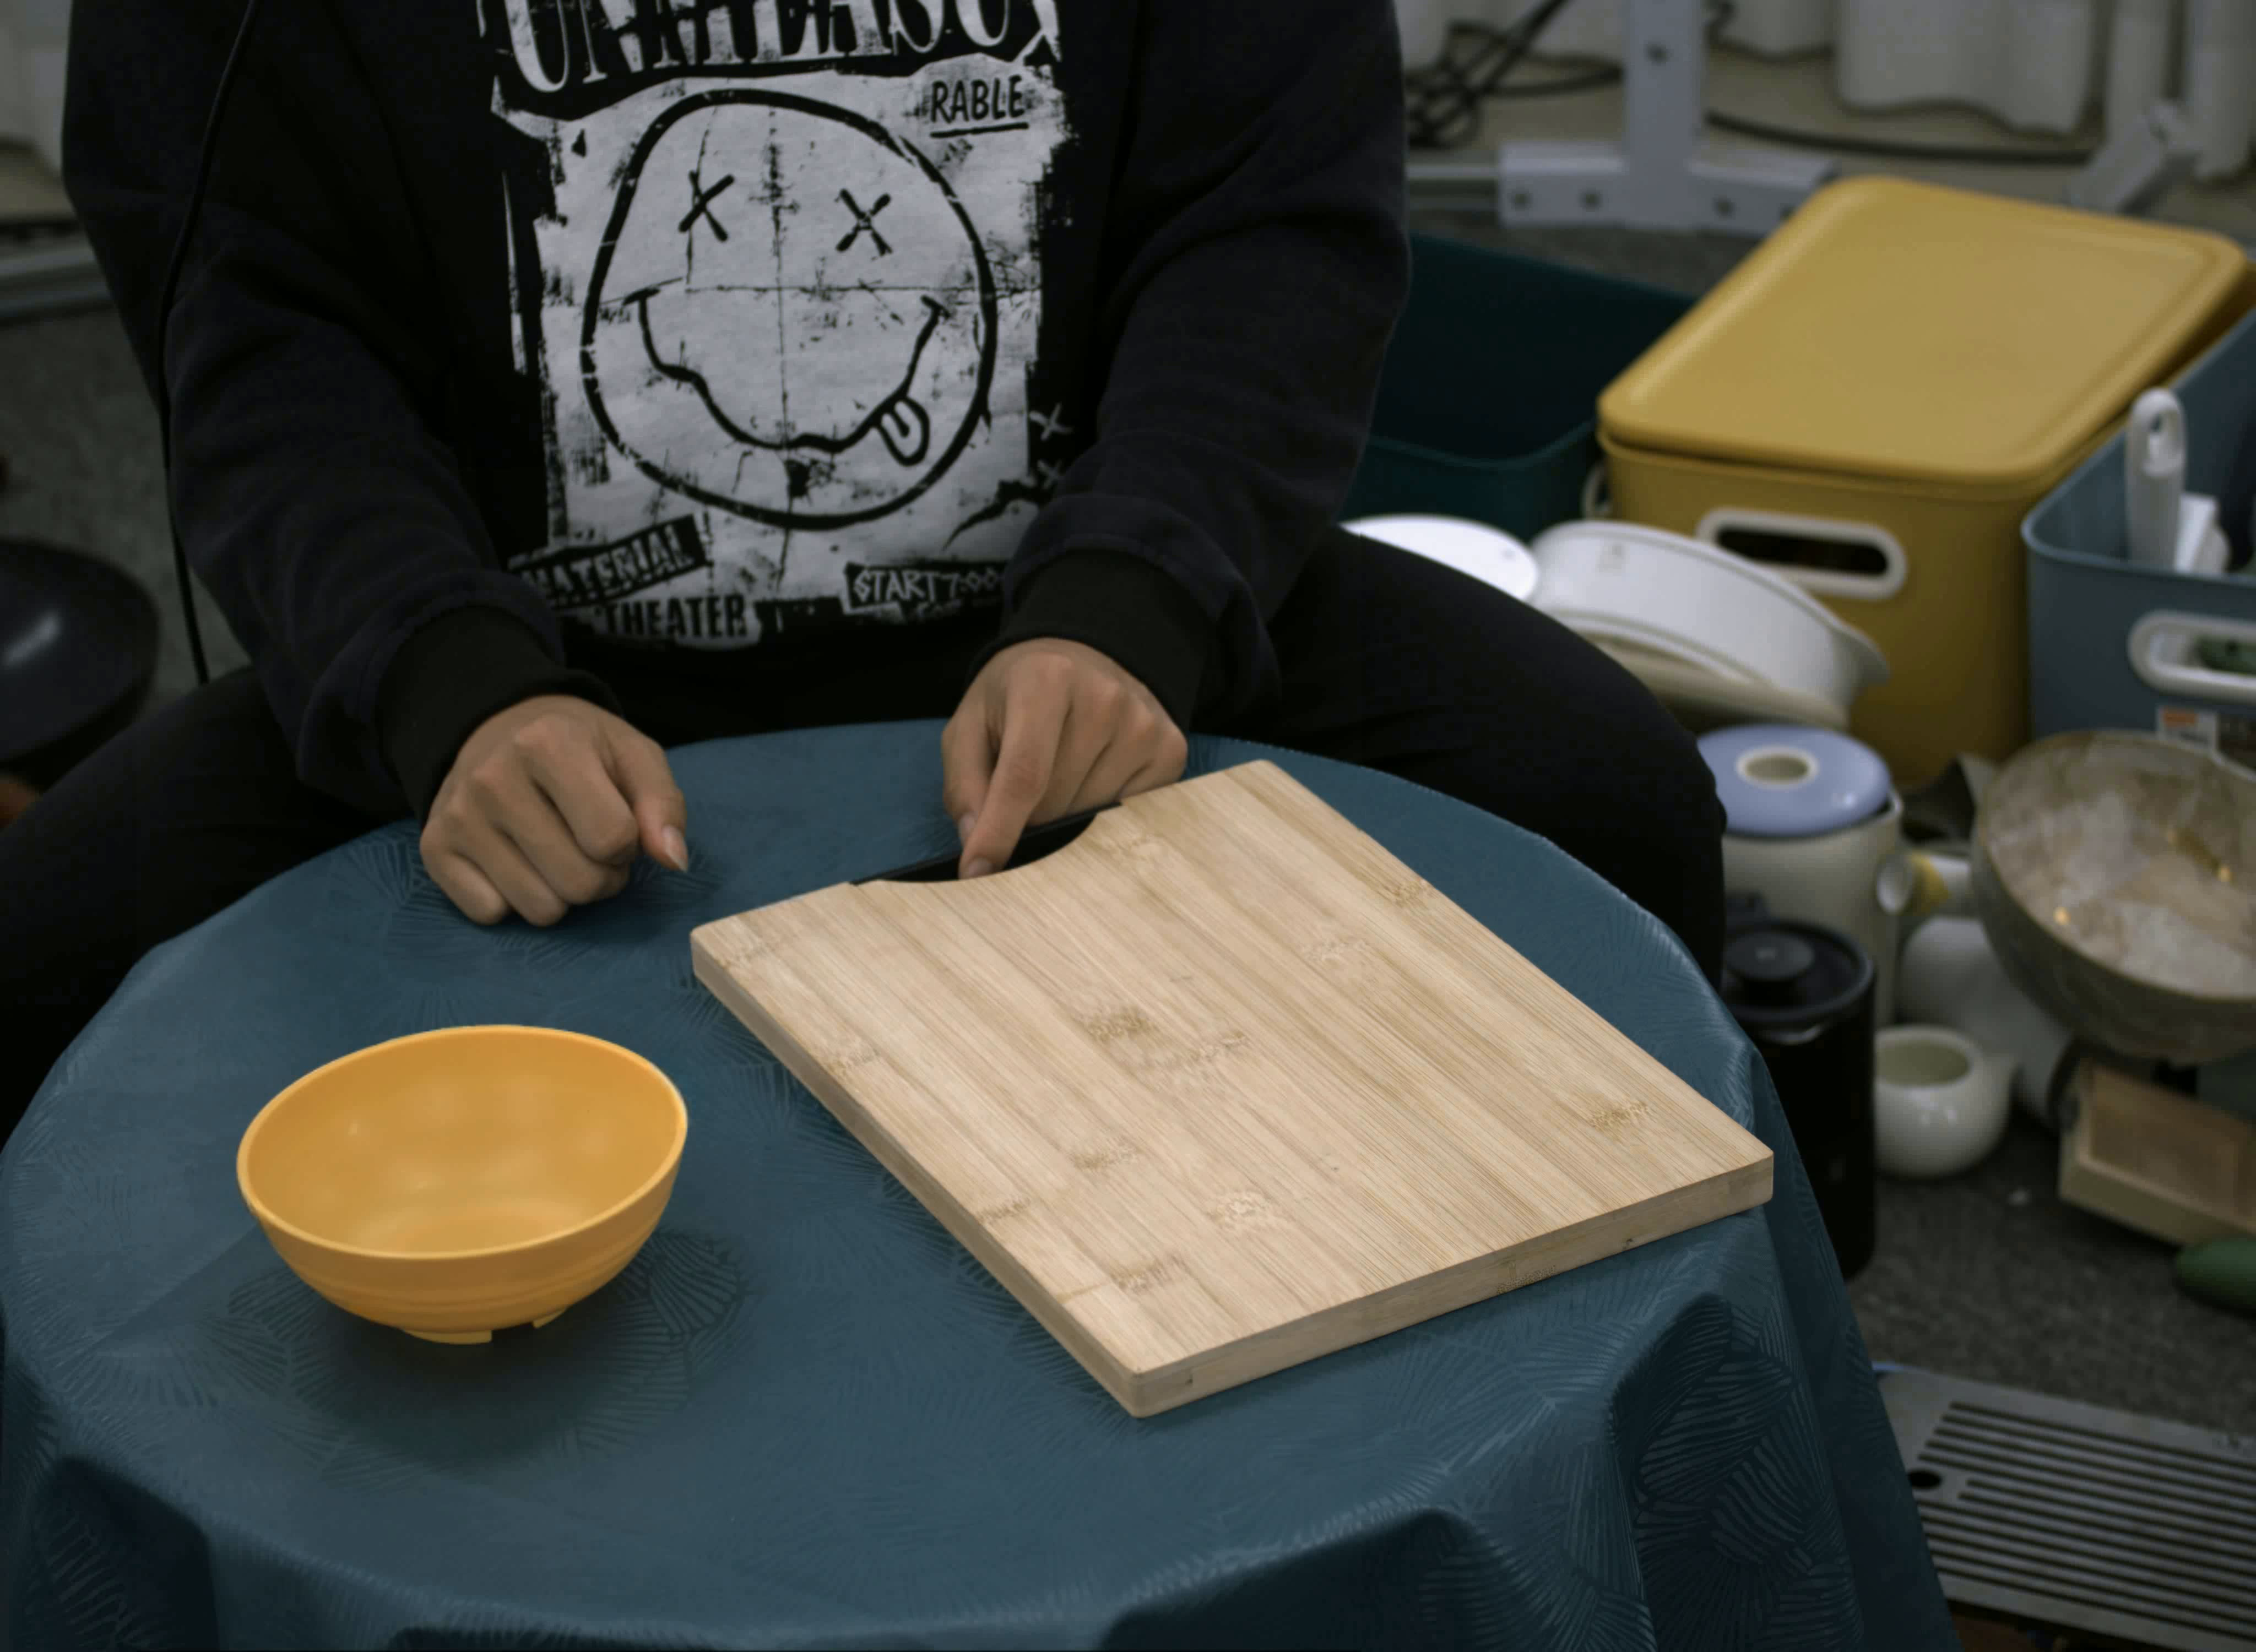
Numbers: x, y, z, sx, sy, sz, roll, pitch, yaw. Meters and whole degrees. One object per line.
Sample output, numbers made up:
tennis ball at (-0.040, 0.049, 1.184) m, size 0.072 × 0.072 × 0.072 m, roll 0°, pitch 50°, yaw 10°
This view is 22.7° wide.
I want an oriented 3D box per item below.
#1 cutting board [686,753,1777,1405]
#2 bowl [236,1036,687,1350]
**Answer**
cutting board at (0.027, 0.079, 1.925) m, size 0.252 × 0.023 × 0.350 m, roll -16°, pitch 30°, yaw -25°
bowl at (-0.213, 0.127, 1.811) m, size 0.144 × 0.059 × 0.147 m, roll 0°, pitch 25°, yaw 1°
